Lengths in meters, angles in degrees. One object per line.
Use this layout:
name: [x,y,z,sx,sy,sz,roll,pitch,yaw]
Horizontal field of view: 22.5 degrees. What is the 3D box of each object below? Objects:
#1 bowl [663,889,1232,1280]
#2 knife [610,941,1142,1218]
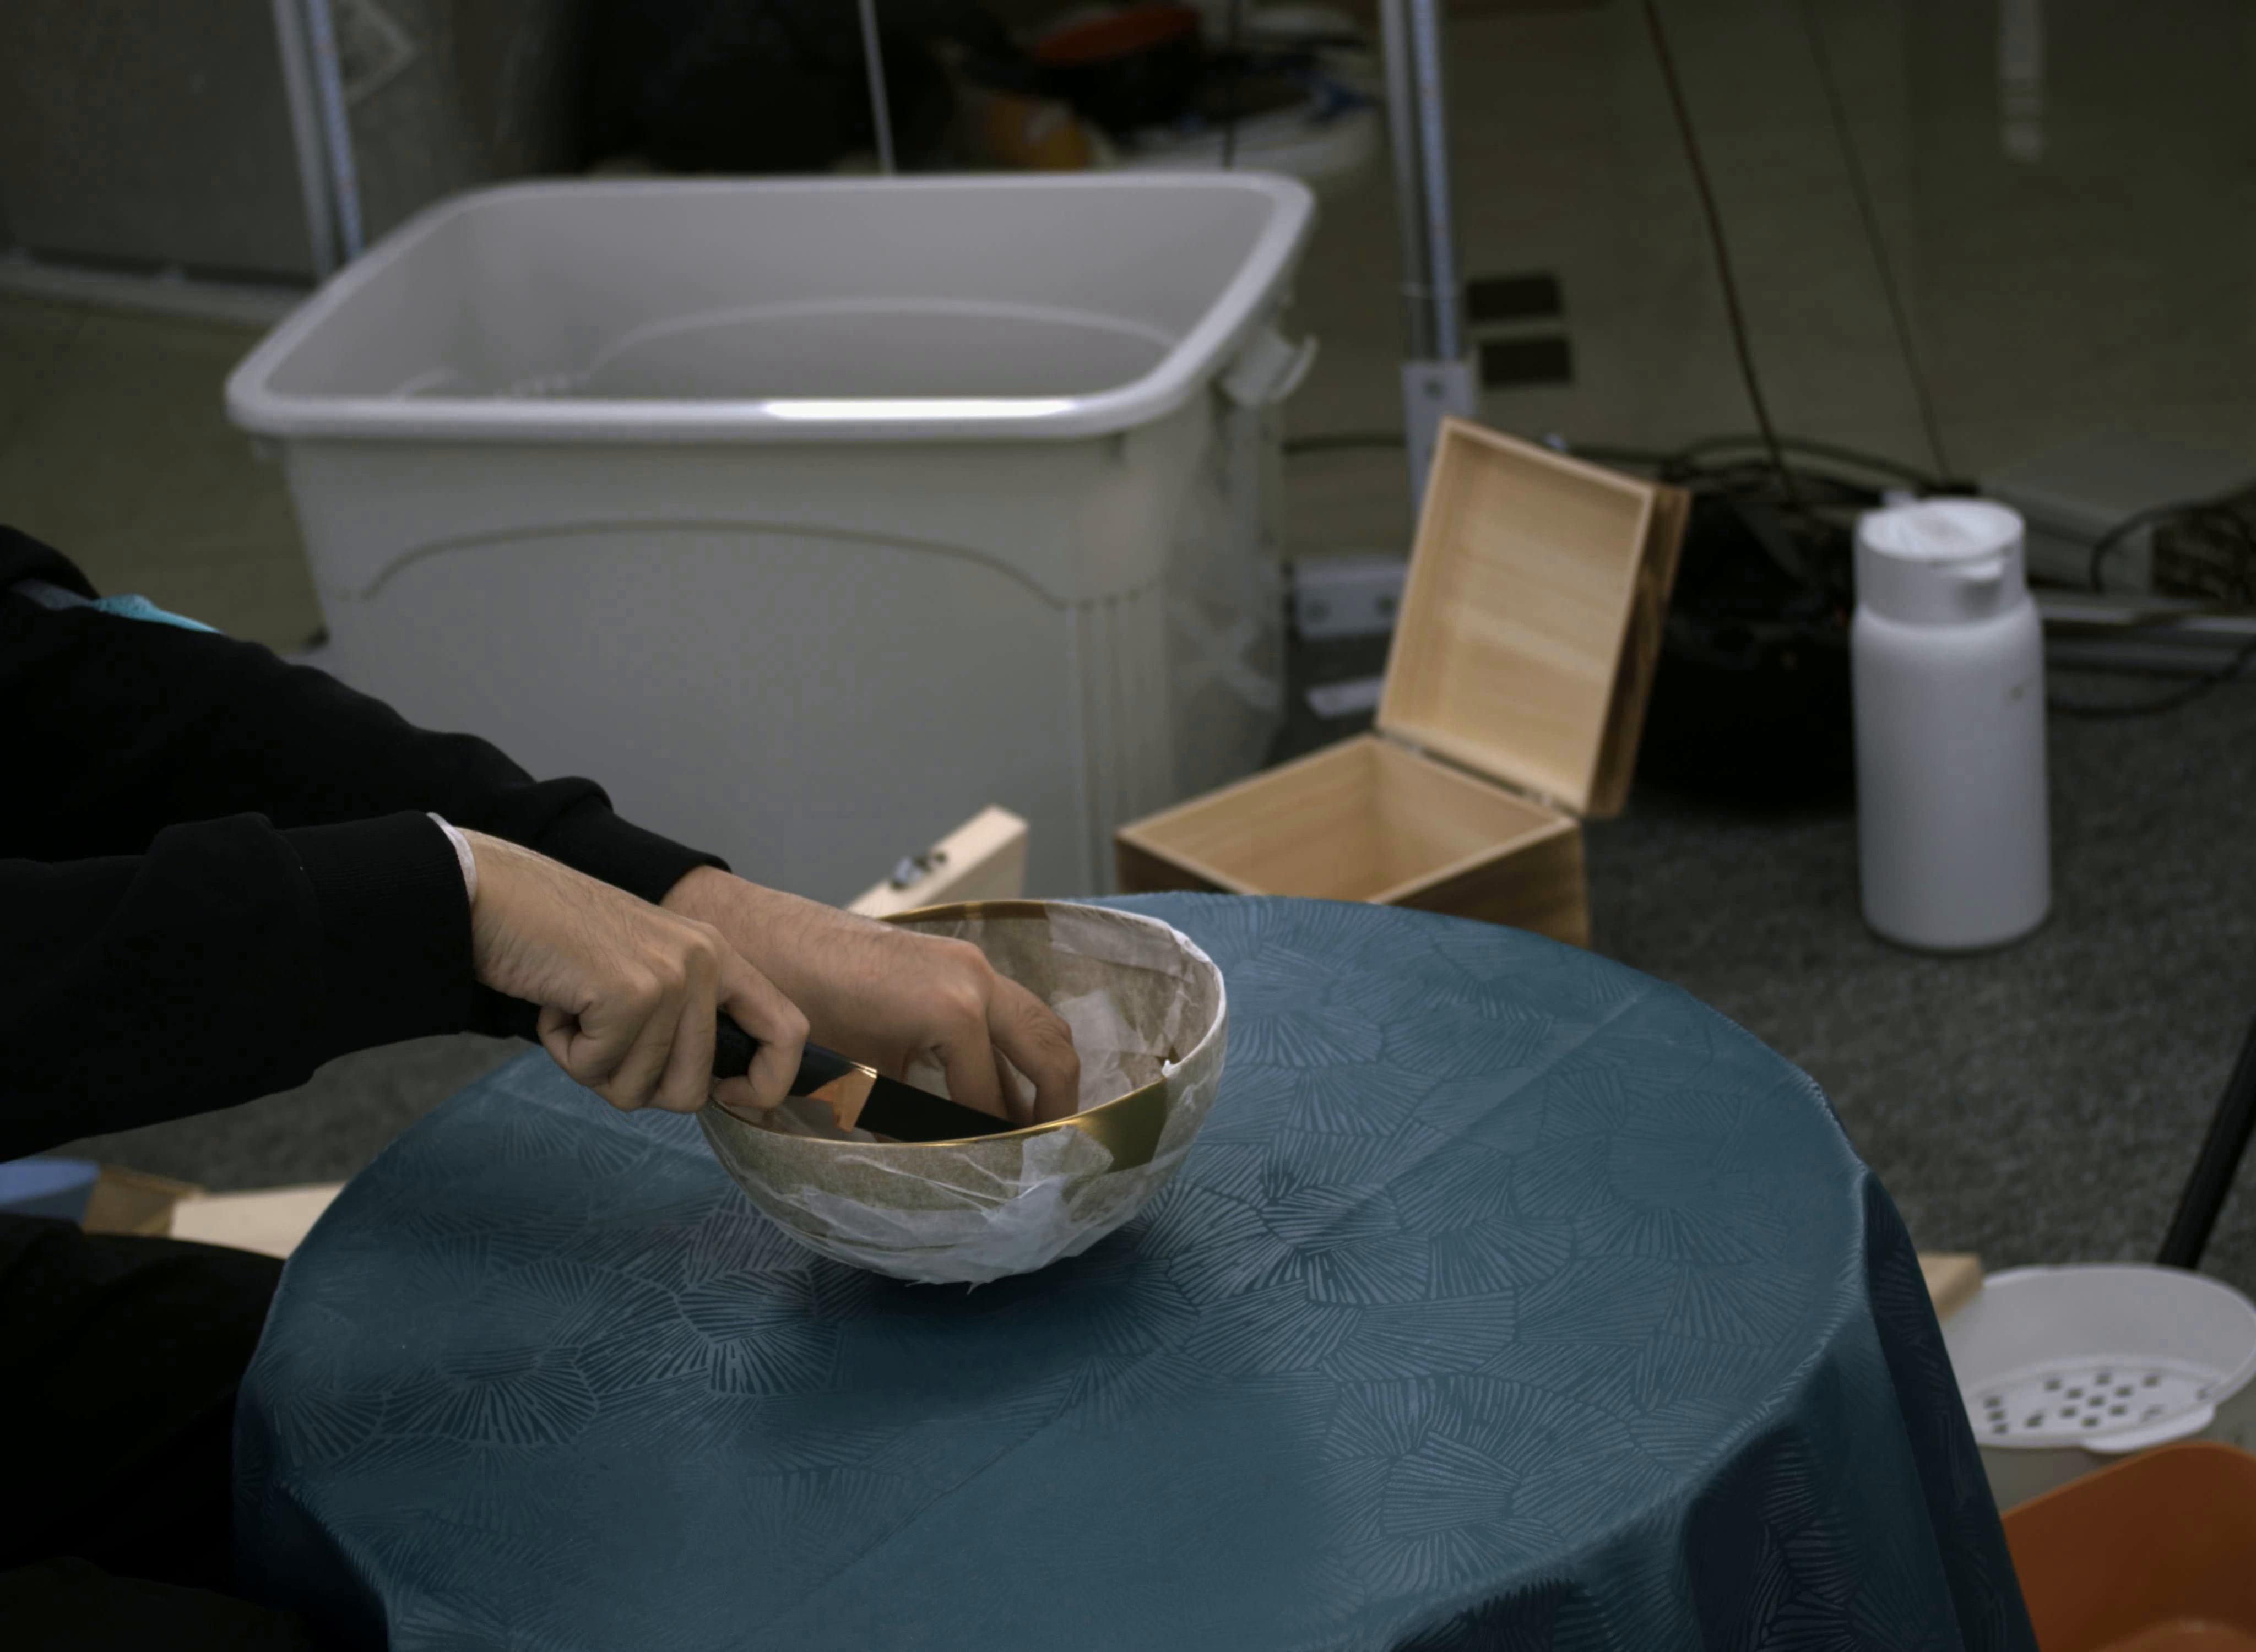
bowl: [-0.063,0.109,2.112,0.214,0.096,0.211,-5,26,3]
knife: [-0.090,0.094,2.075,0.226,0.017,0.026,26,42,-20]
